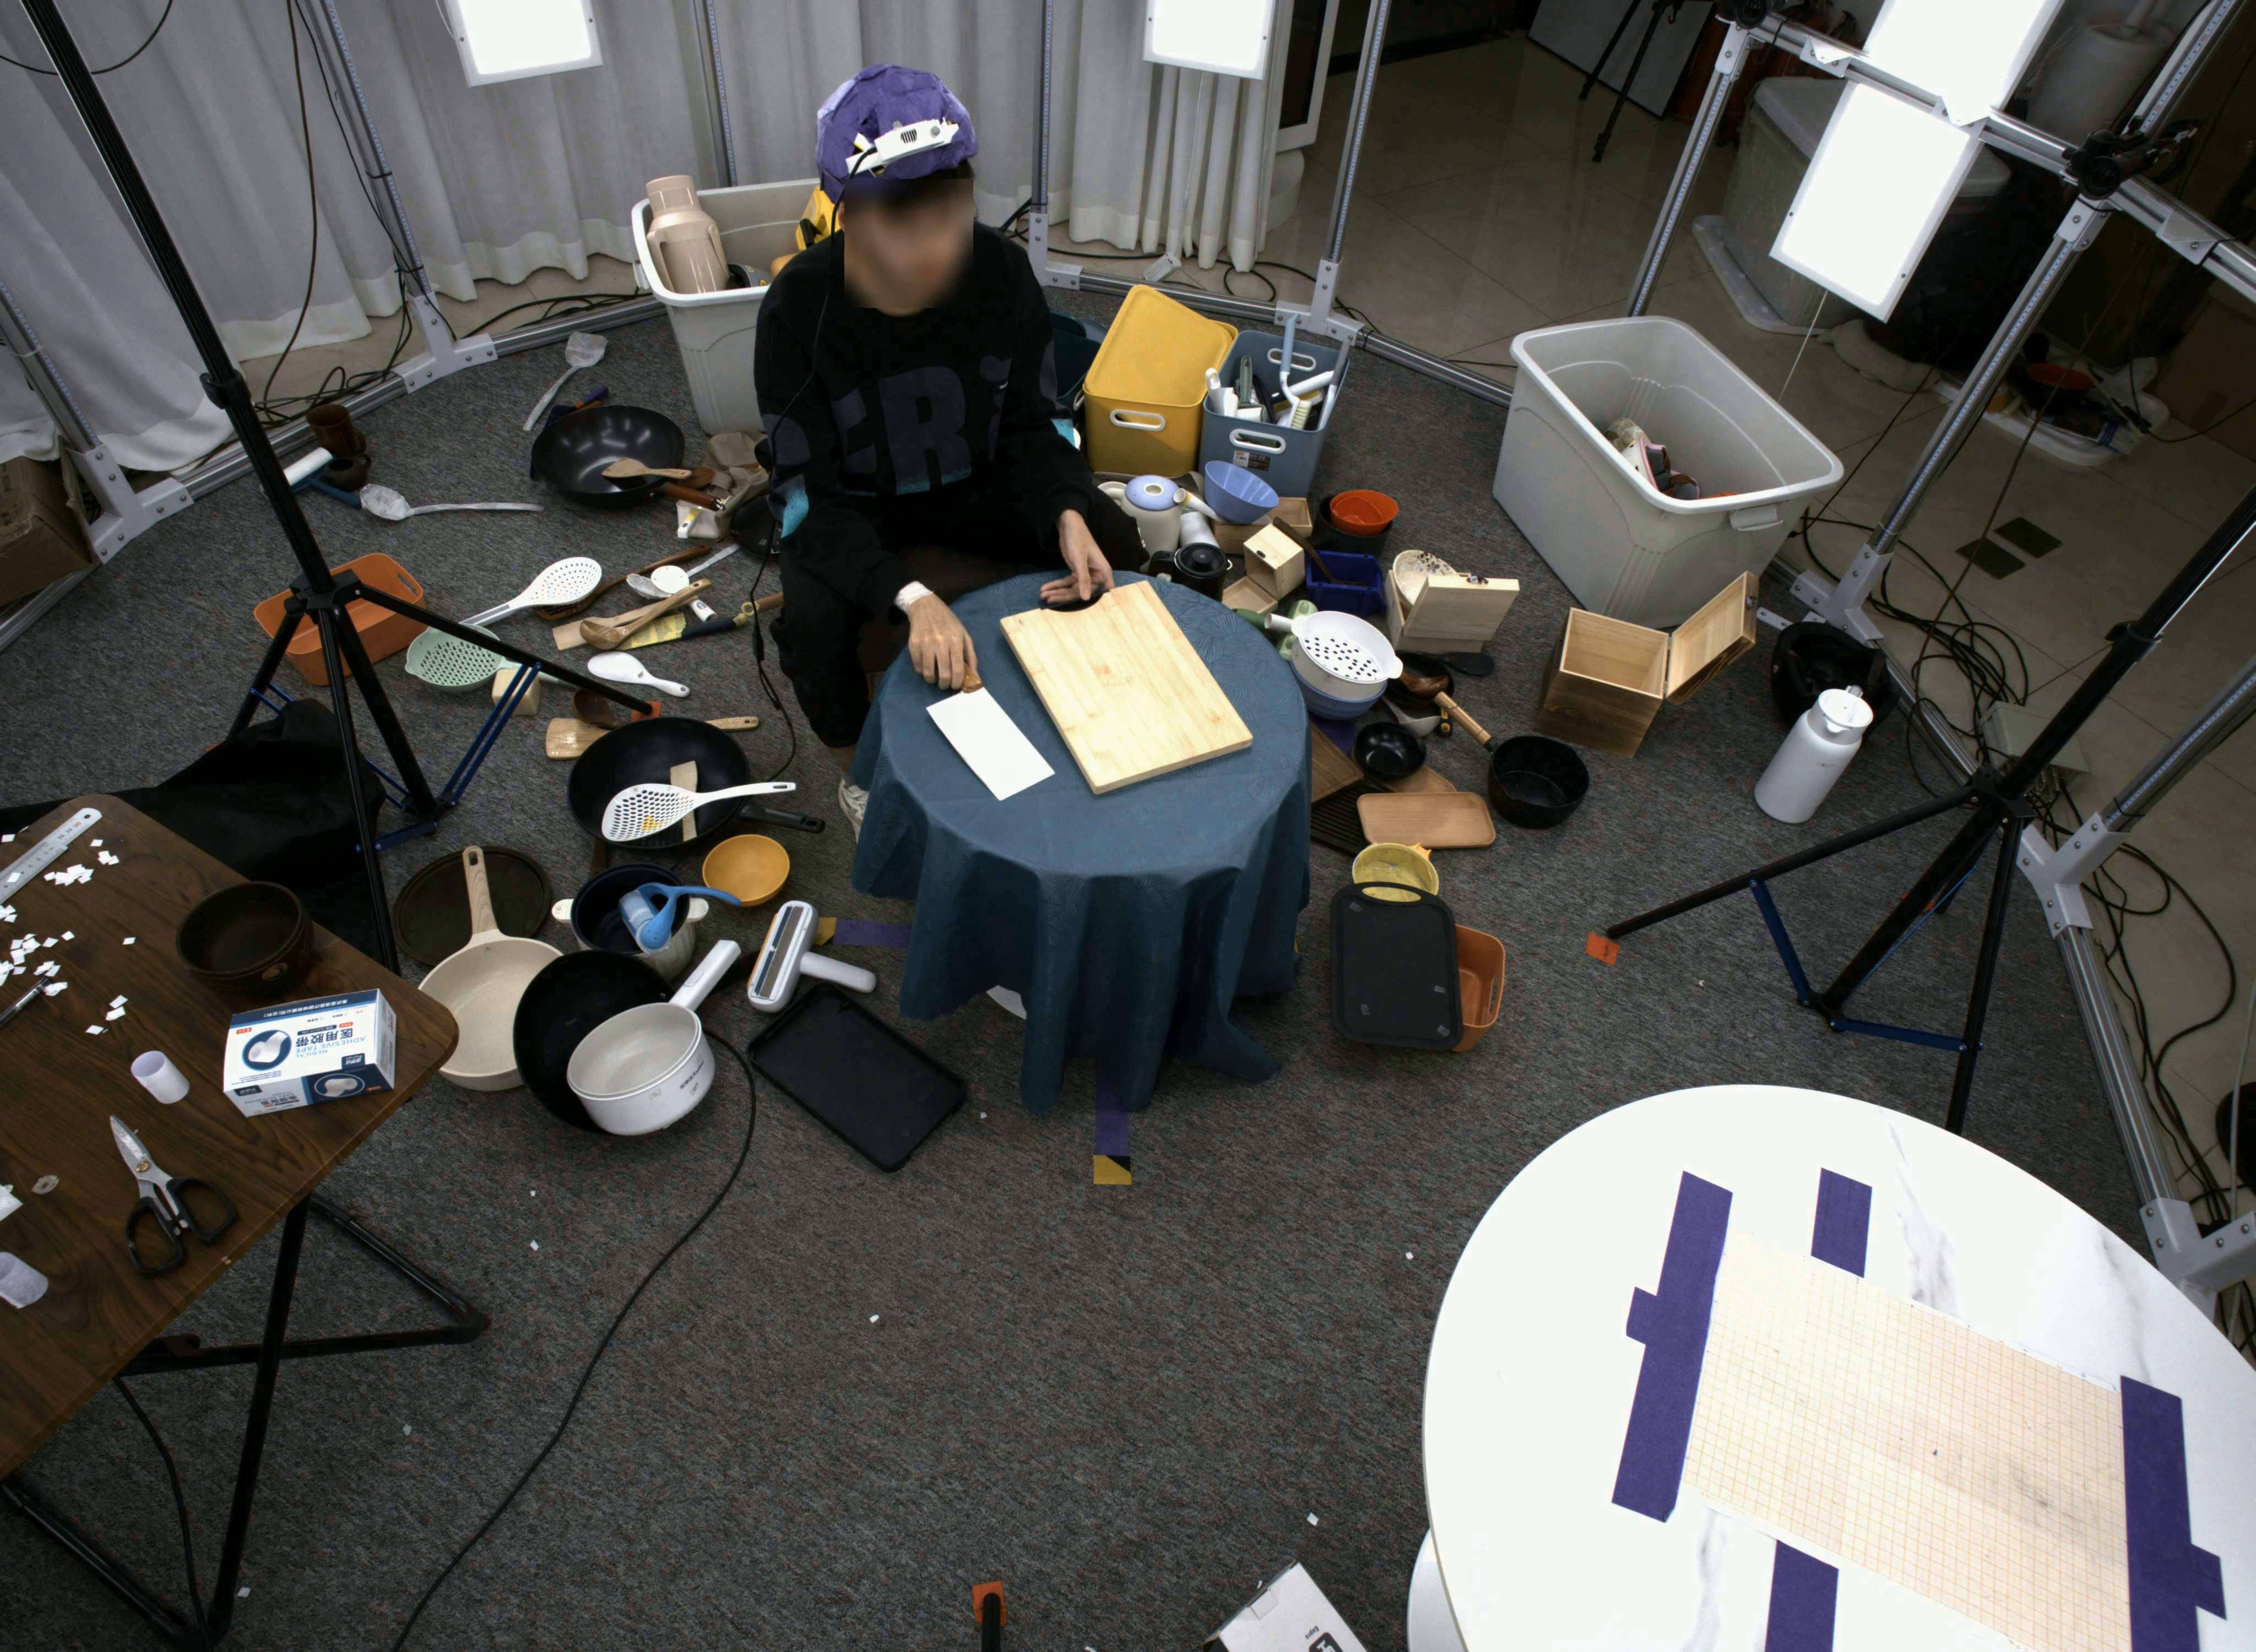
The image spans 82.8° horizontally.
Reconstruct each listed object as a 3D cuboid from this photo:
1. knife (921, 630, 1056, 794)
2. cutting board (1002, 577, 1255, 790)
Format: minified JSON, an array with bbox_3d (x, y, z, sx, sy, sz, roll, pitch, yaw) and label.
[{"bbox_3d":[-0.217,-0.158,1.774,0.093,0.020,0.311,-27,60,-24],"label":"knife"},{"bbox_3d":[-0.005,-0.211,1.831,0.251,0.023,0.356,-18,55,-19],"label":"cutting board"}]
